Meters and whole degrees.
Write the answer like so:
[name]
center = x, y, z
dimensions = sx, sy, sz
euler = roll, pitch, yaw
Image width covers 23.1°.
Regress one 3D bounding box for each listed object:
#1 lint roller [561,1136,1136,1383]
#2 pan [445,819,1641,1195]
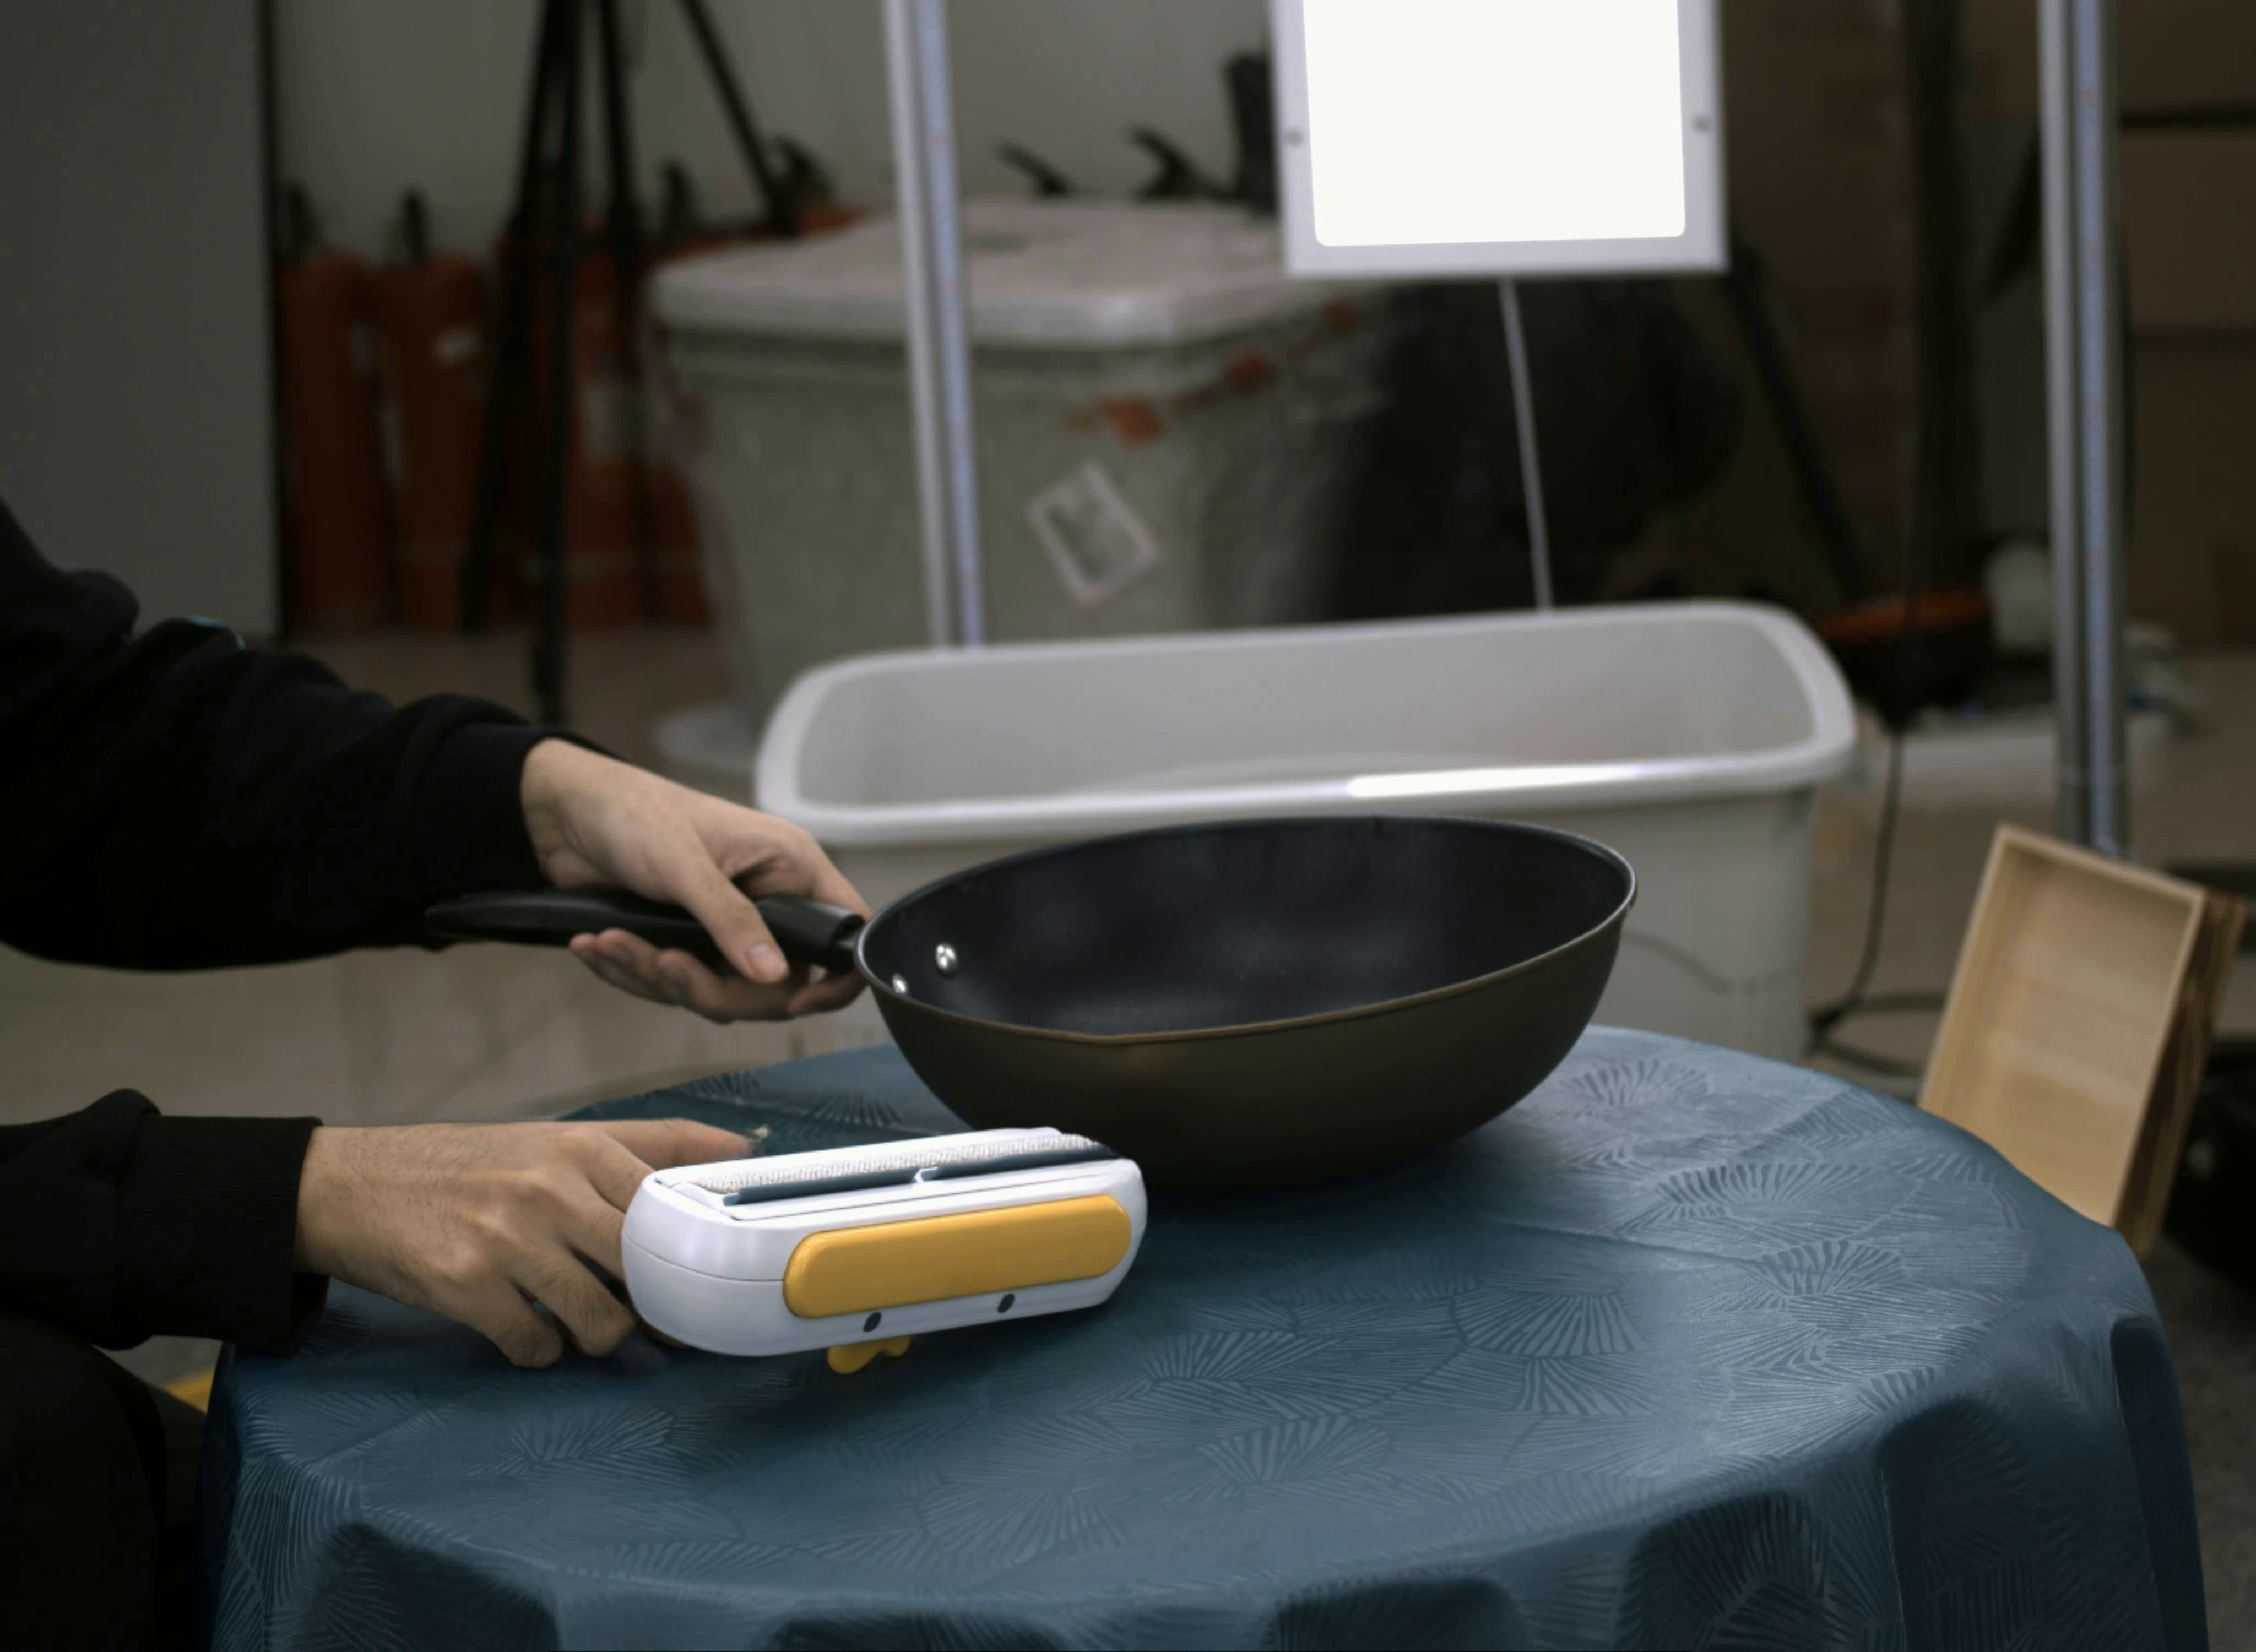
[lint roller]
center = -0.119, 0.132, 1.776
dimensions = 0.188, 0.074, 0.196
euler = -9, 11, -39
[pan]
center = -0.039, 0.068, 1.977
dimensions = 0.471, 0.087, 0.282
euler = 0, 15, 24
